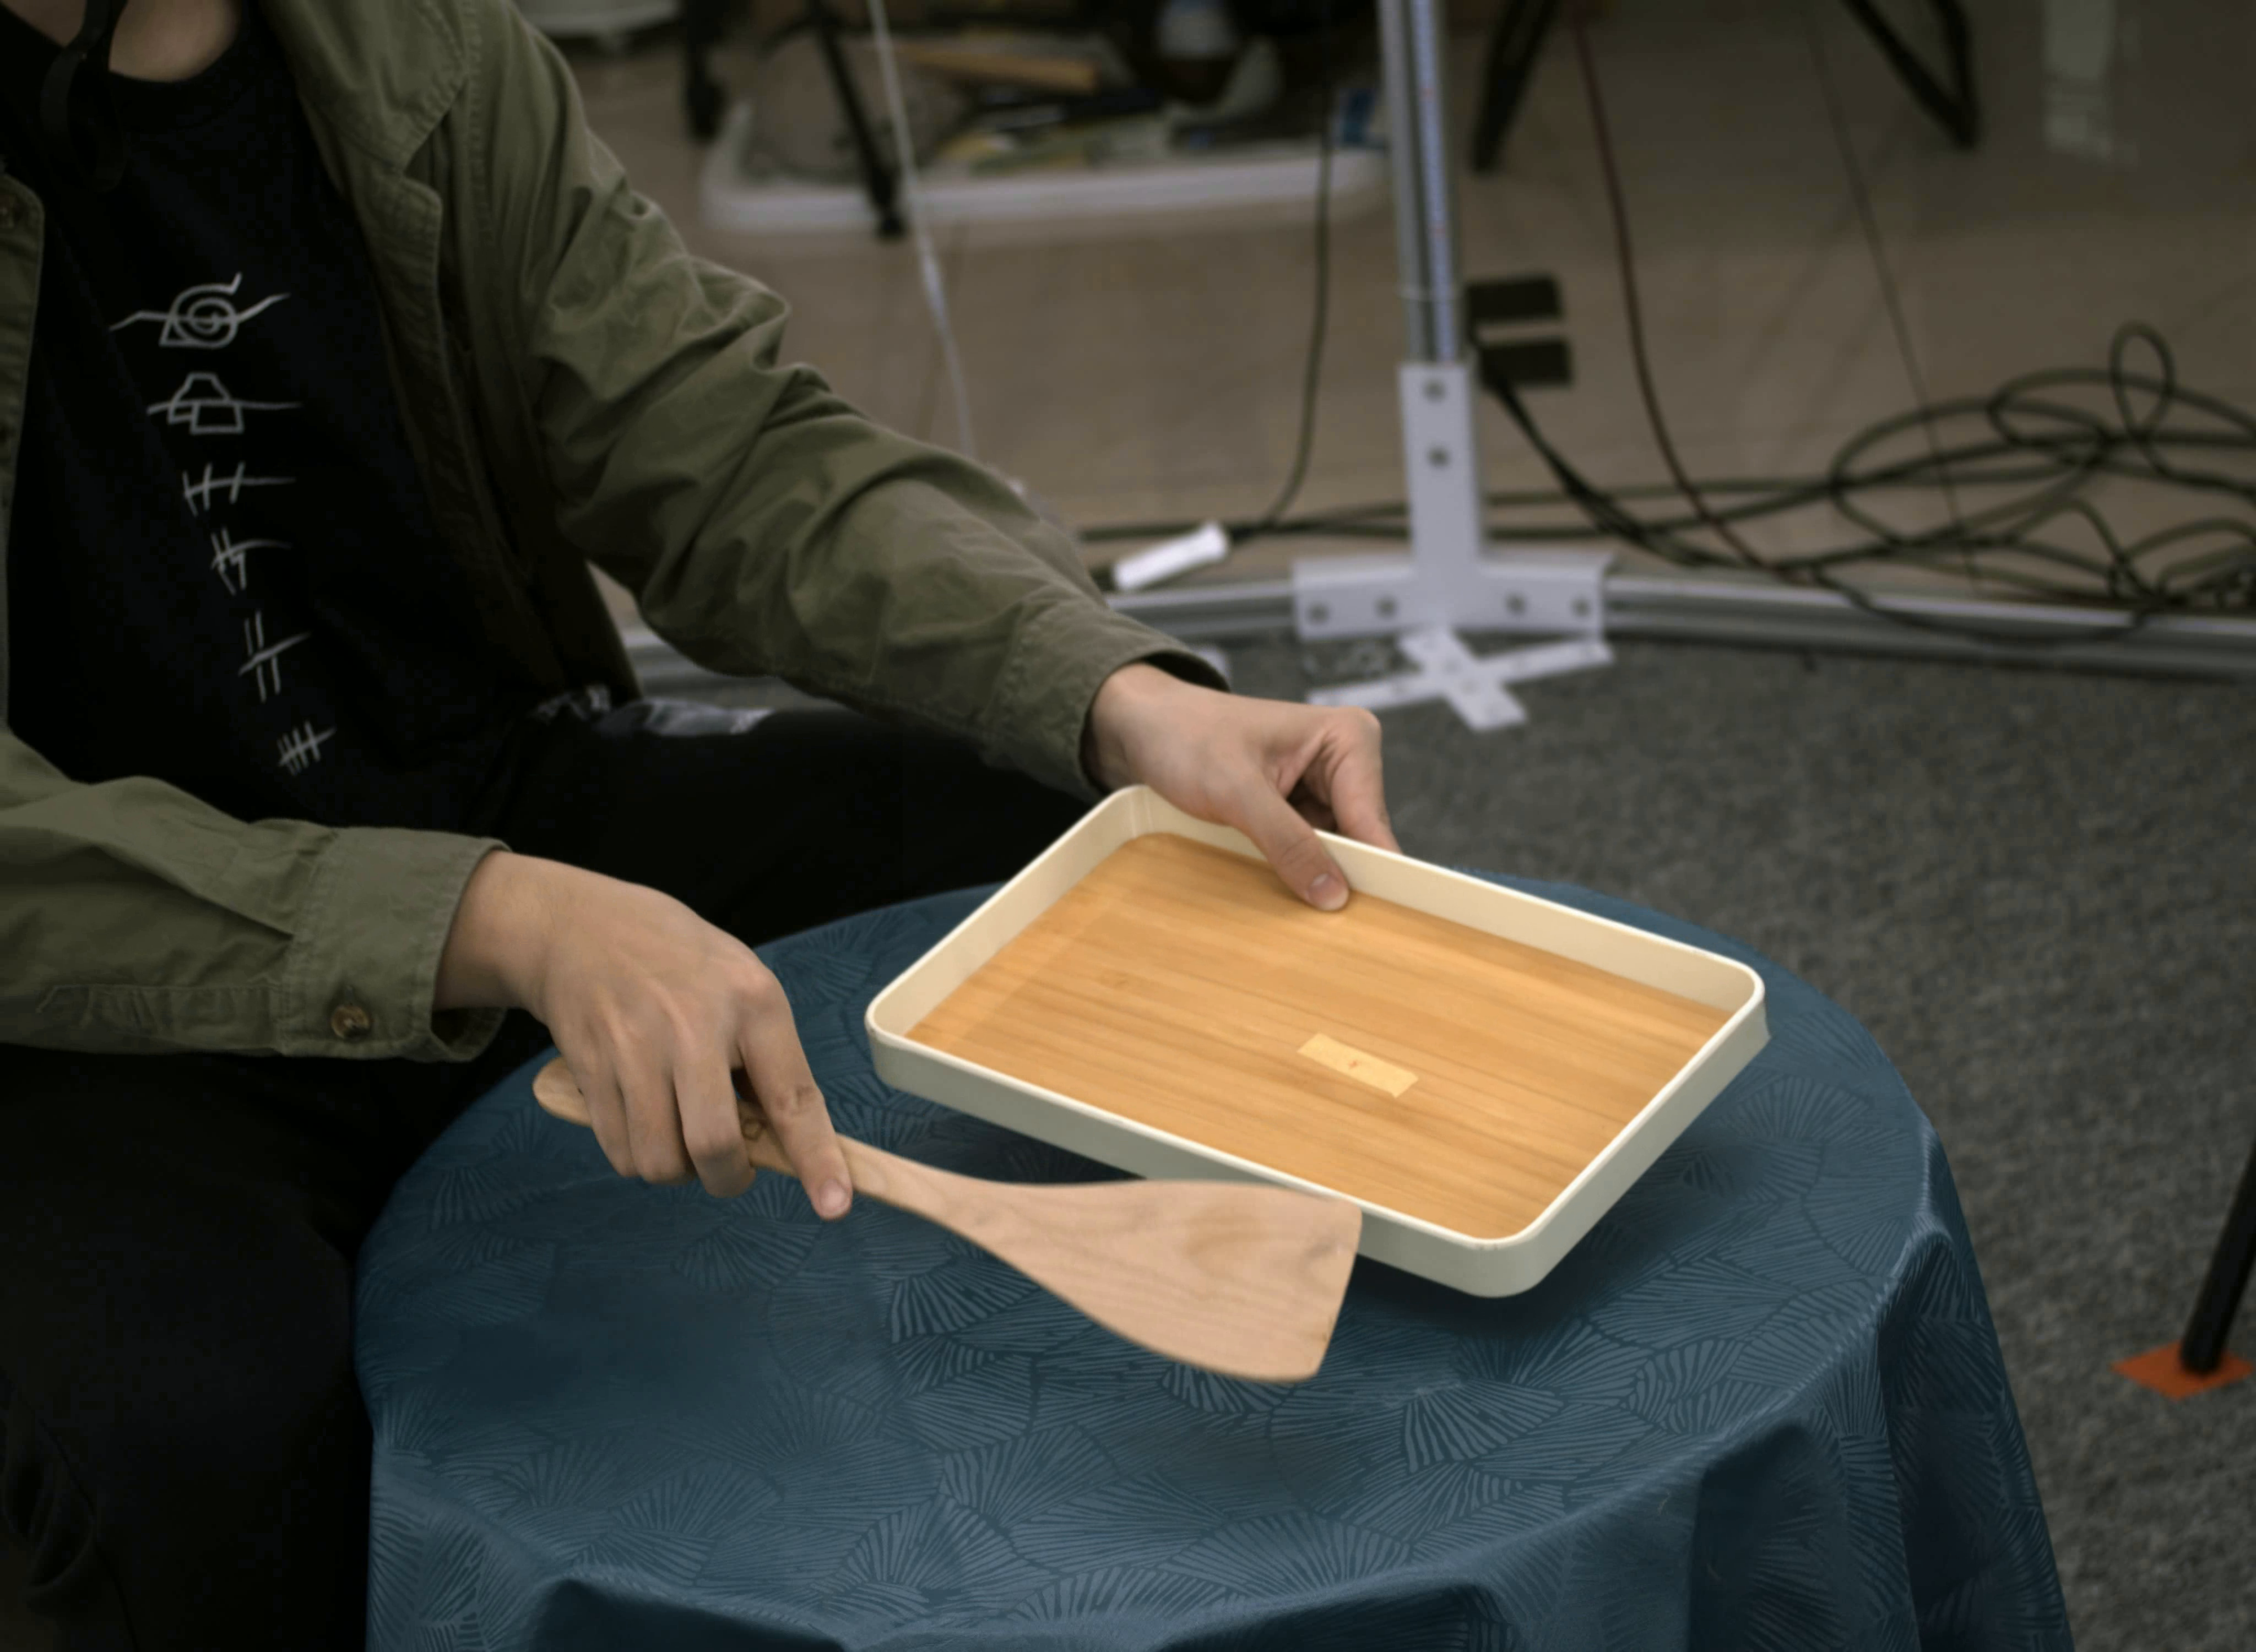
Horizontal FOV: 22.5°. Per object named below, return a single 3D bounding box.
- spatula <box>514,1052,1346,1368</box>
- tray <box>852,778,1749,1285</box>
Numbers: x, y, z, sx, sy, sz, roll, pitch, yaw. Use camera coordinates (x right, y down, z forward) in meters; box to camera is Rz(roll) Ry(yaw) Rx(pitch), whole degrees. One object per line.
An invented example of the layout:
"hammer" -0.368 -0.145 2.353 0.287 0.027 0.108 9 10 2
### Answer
"spatula" -0.074 0.122 1.990 0.326 0.017 0.079 14 56 22
"tray" 0.064 0.072 2.134 0.298 0.028 0.189 18 42 33
